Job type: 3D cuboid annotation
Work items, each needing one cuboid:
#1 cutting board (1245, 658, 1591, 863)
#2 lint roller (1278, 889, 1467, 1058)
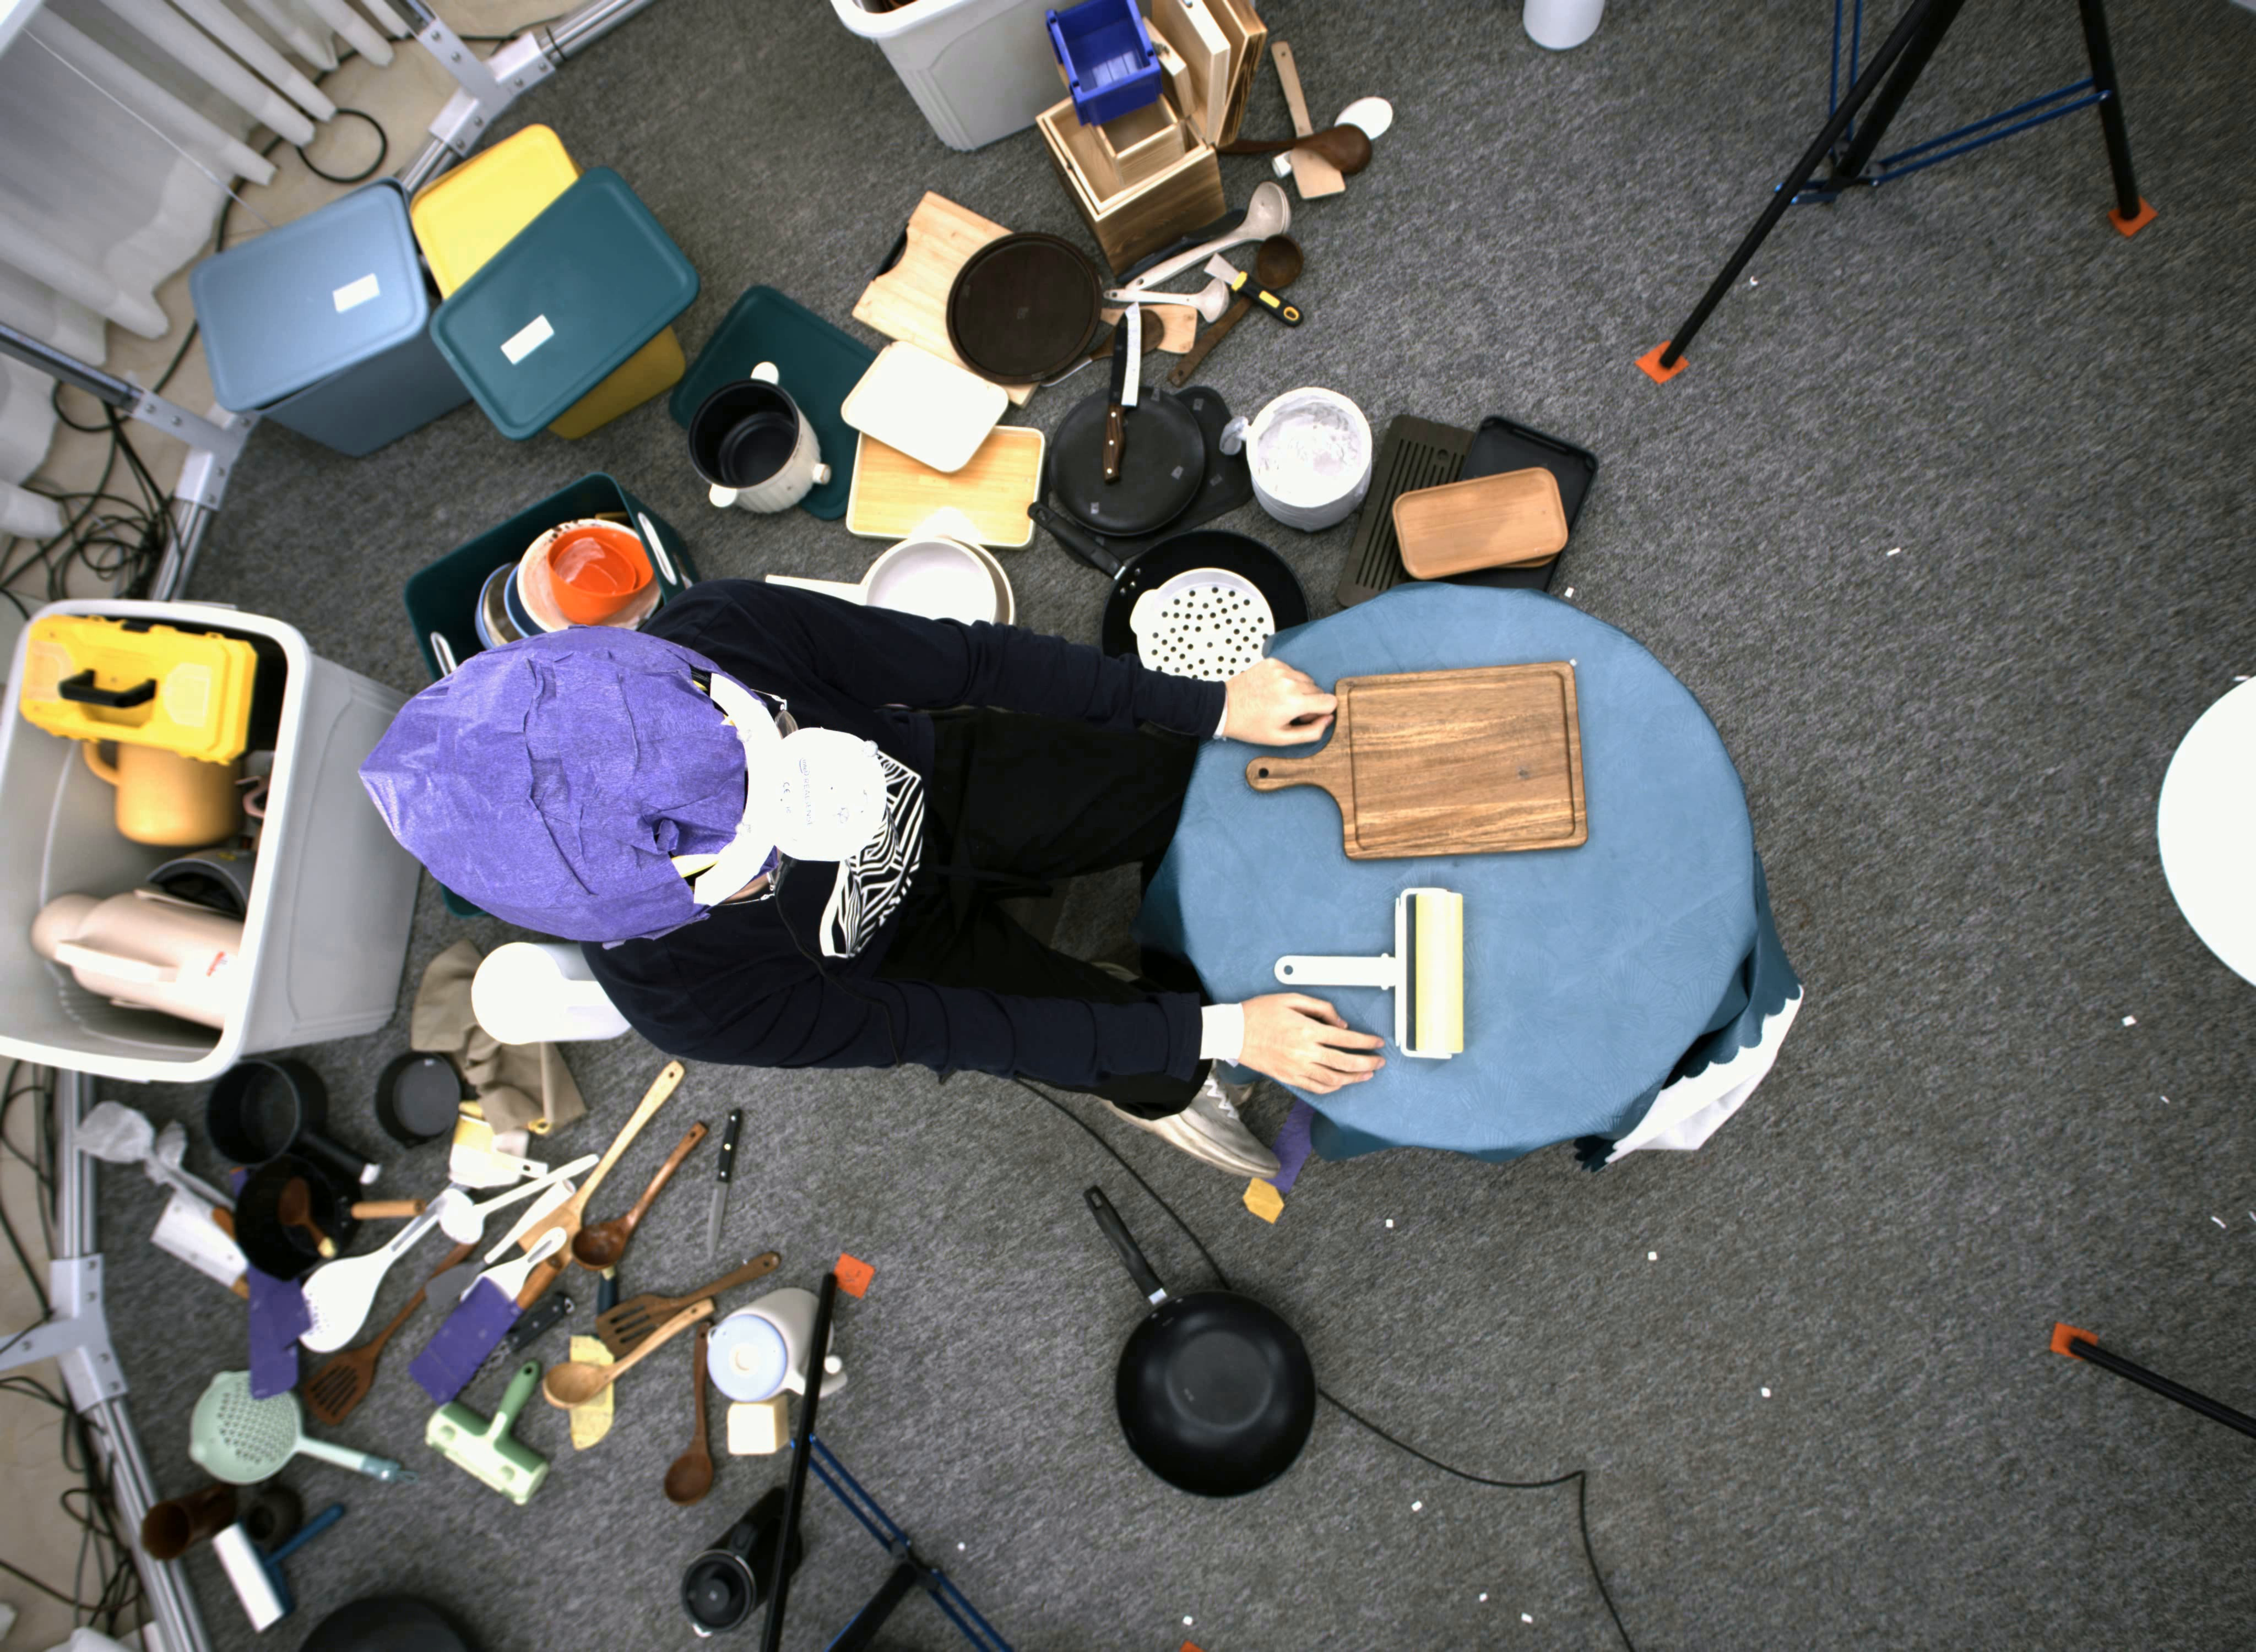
[{"bbox_3d":[0.299,-0.067,1.452,0.354,0.023,0.200,-4,86,11],"label":"cutting board"},{"bbox_3d":[0.252,0.152,1.434,0.192,0.051,0.173,-1,86,8],"label":"lint roller"}]
